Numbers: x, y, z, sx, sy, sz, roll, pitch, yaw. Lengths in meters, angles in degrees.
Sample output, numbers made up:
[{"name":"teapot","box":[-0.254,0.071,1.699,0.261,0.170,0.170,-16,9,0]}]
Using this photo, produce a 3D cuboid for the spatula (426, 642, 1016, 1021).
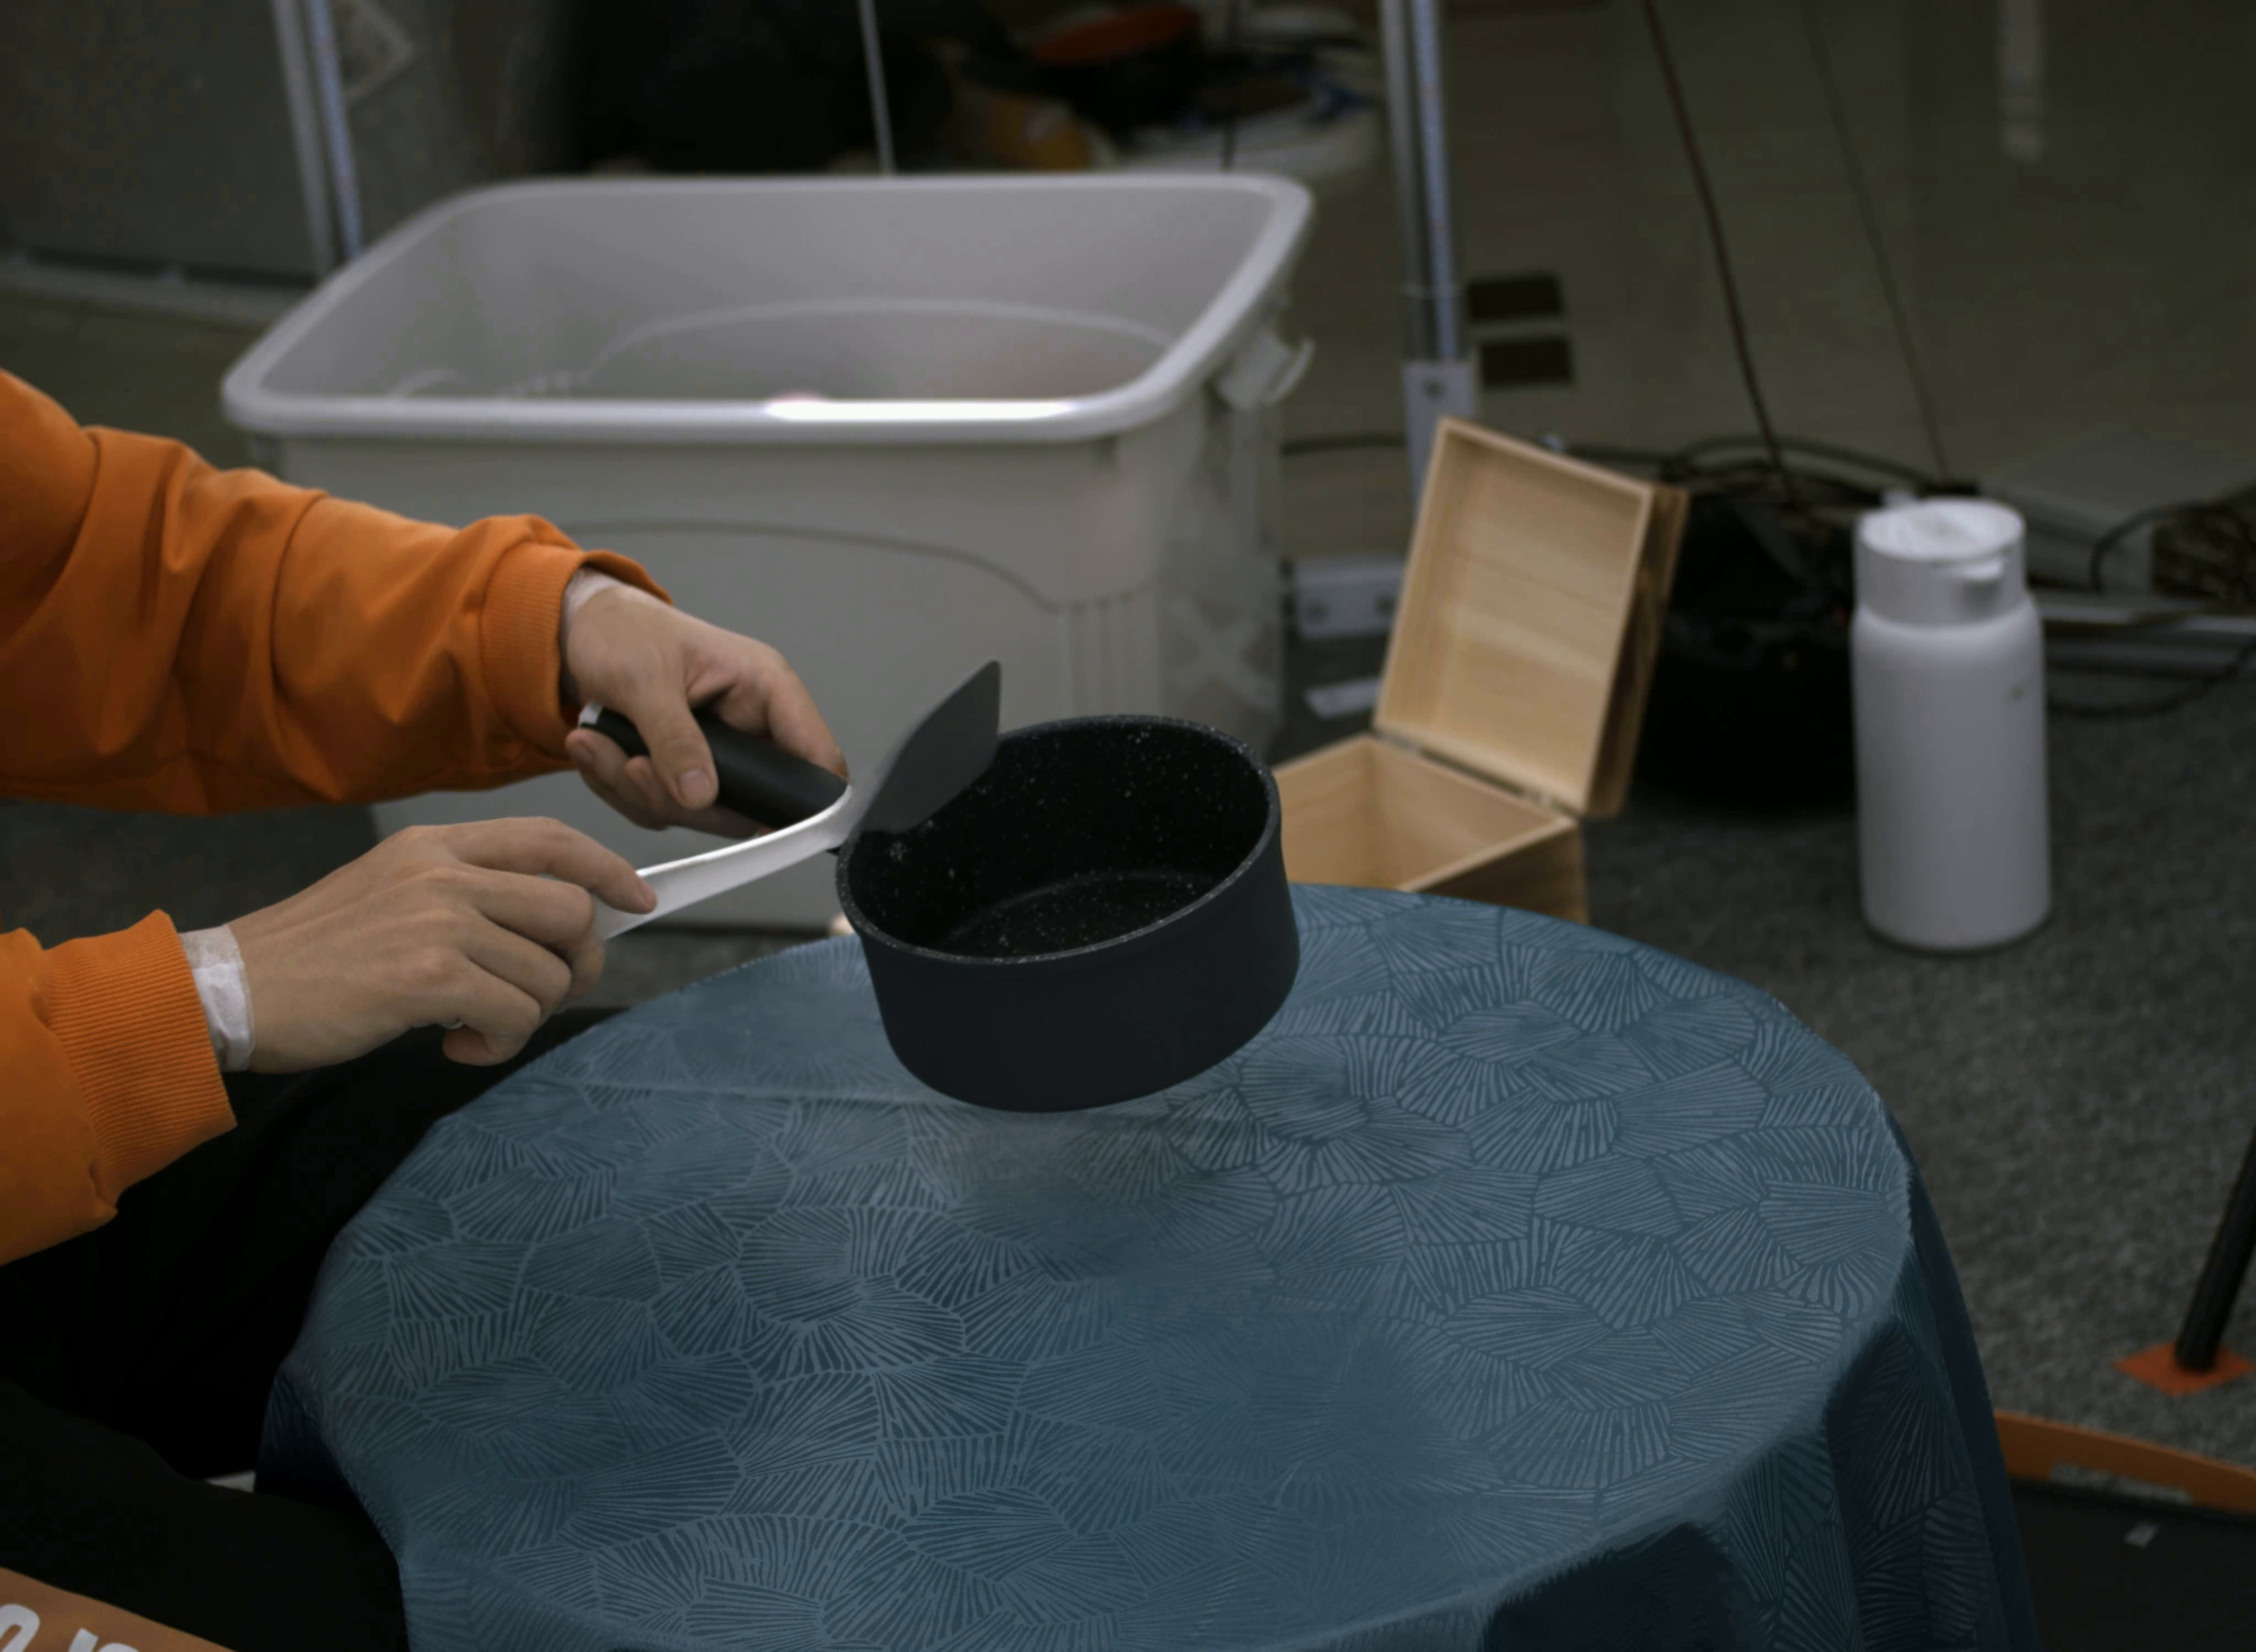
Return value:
[{"name":"spatula","box":[-0.140,0.005,2.103,0.285,0.060,0.032,-27,40,-37]}]

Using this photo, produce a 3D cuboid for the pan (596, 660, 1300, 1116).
[{"name":"pan","box":[-0.080,0.013,2.201,0.326,0.088,0.170,19,43,38]}]
